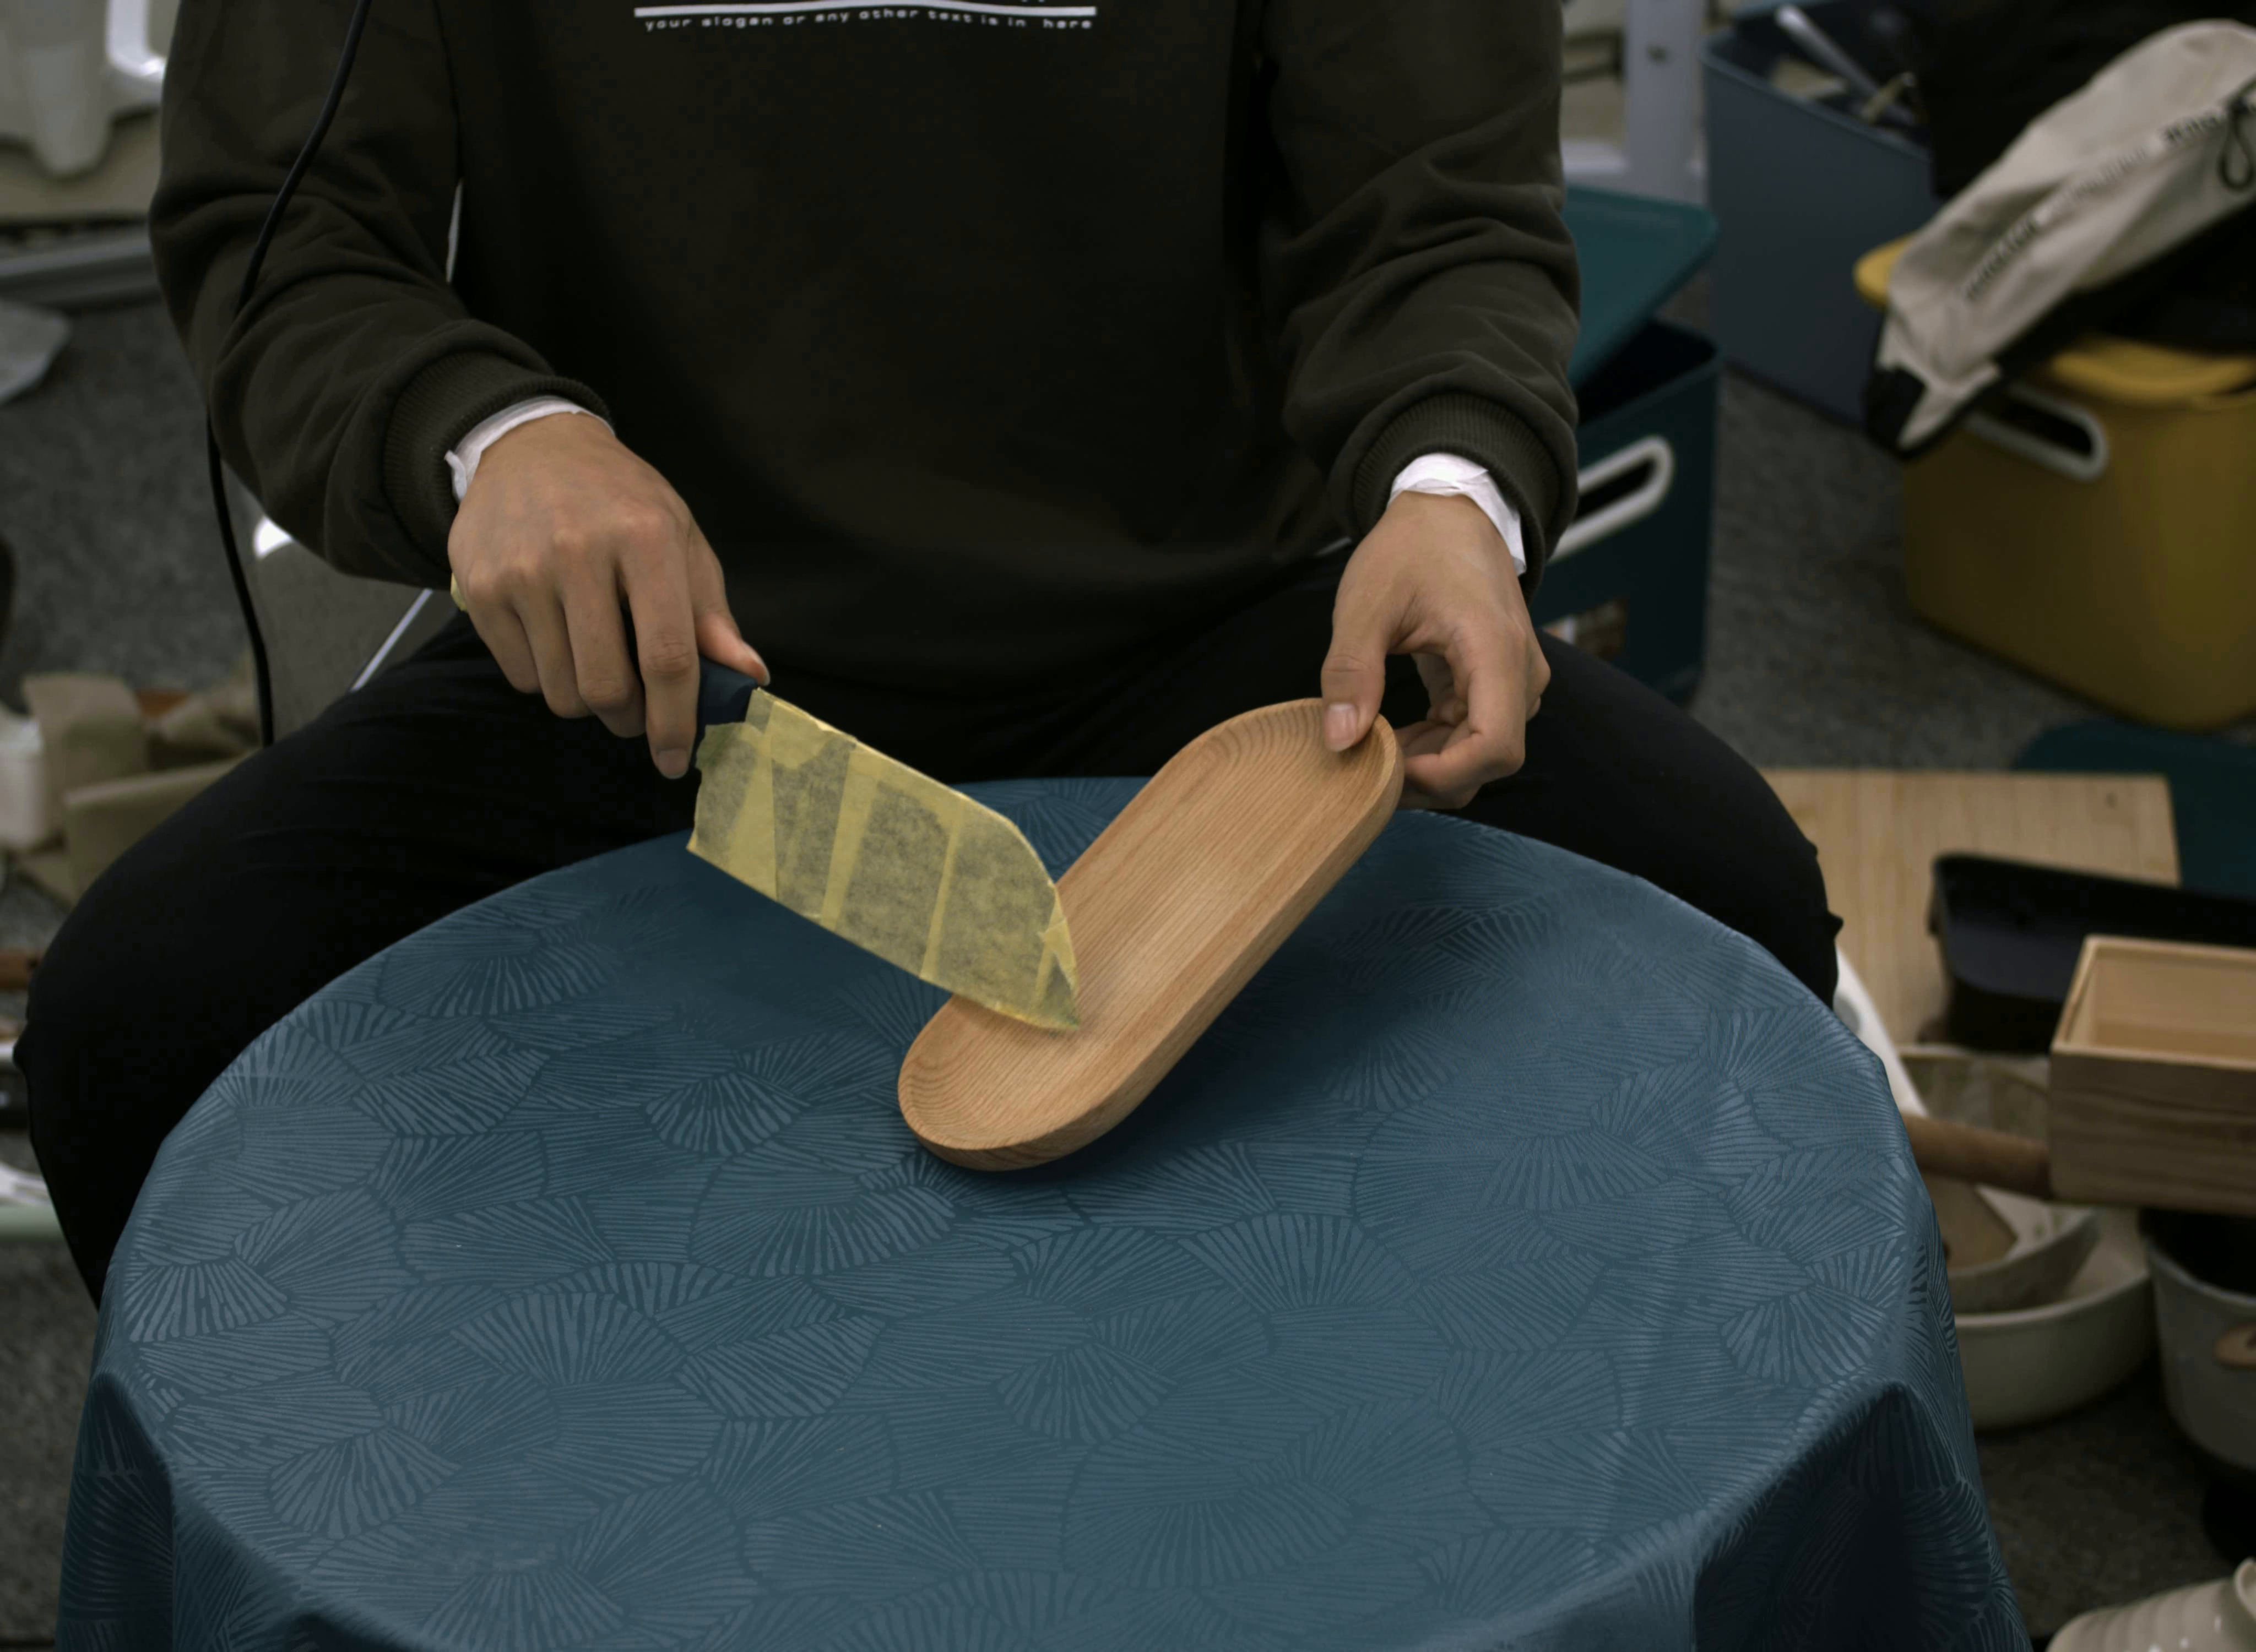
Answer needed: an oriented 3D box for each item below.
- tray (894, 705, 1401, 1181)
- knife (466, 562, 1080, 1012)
[{"bbox_3d":[0.009,0.039,1.925,0.101,0.020,0.235,10,49,45],"label":"tray"},{"bbox_3d":[-0.126,-0.015,1.957,0.290,0.080,0.027,31,27,28],"label":"knife"}]
